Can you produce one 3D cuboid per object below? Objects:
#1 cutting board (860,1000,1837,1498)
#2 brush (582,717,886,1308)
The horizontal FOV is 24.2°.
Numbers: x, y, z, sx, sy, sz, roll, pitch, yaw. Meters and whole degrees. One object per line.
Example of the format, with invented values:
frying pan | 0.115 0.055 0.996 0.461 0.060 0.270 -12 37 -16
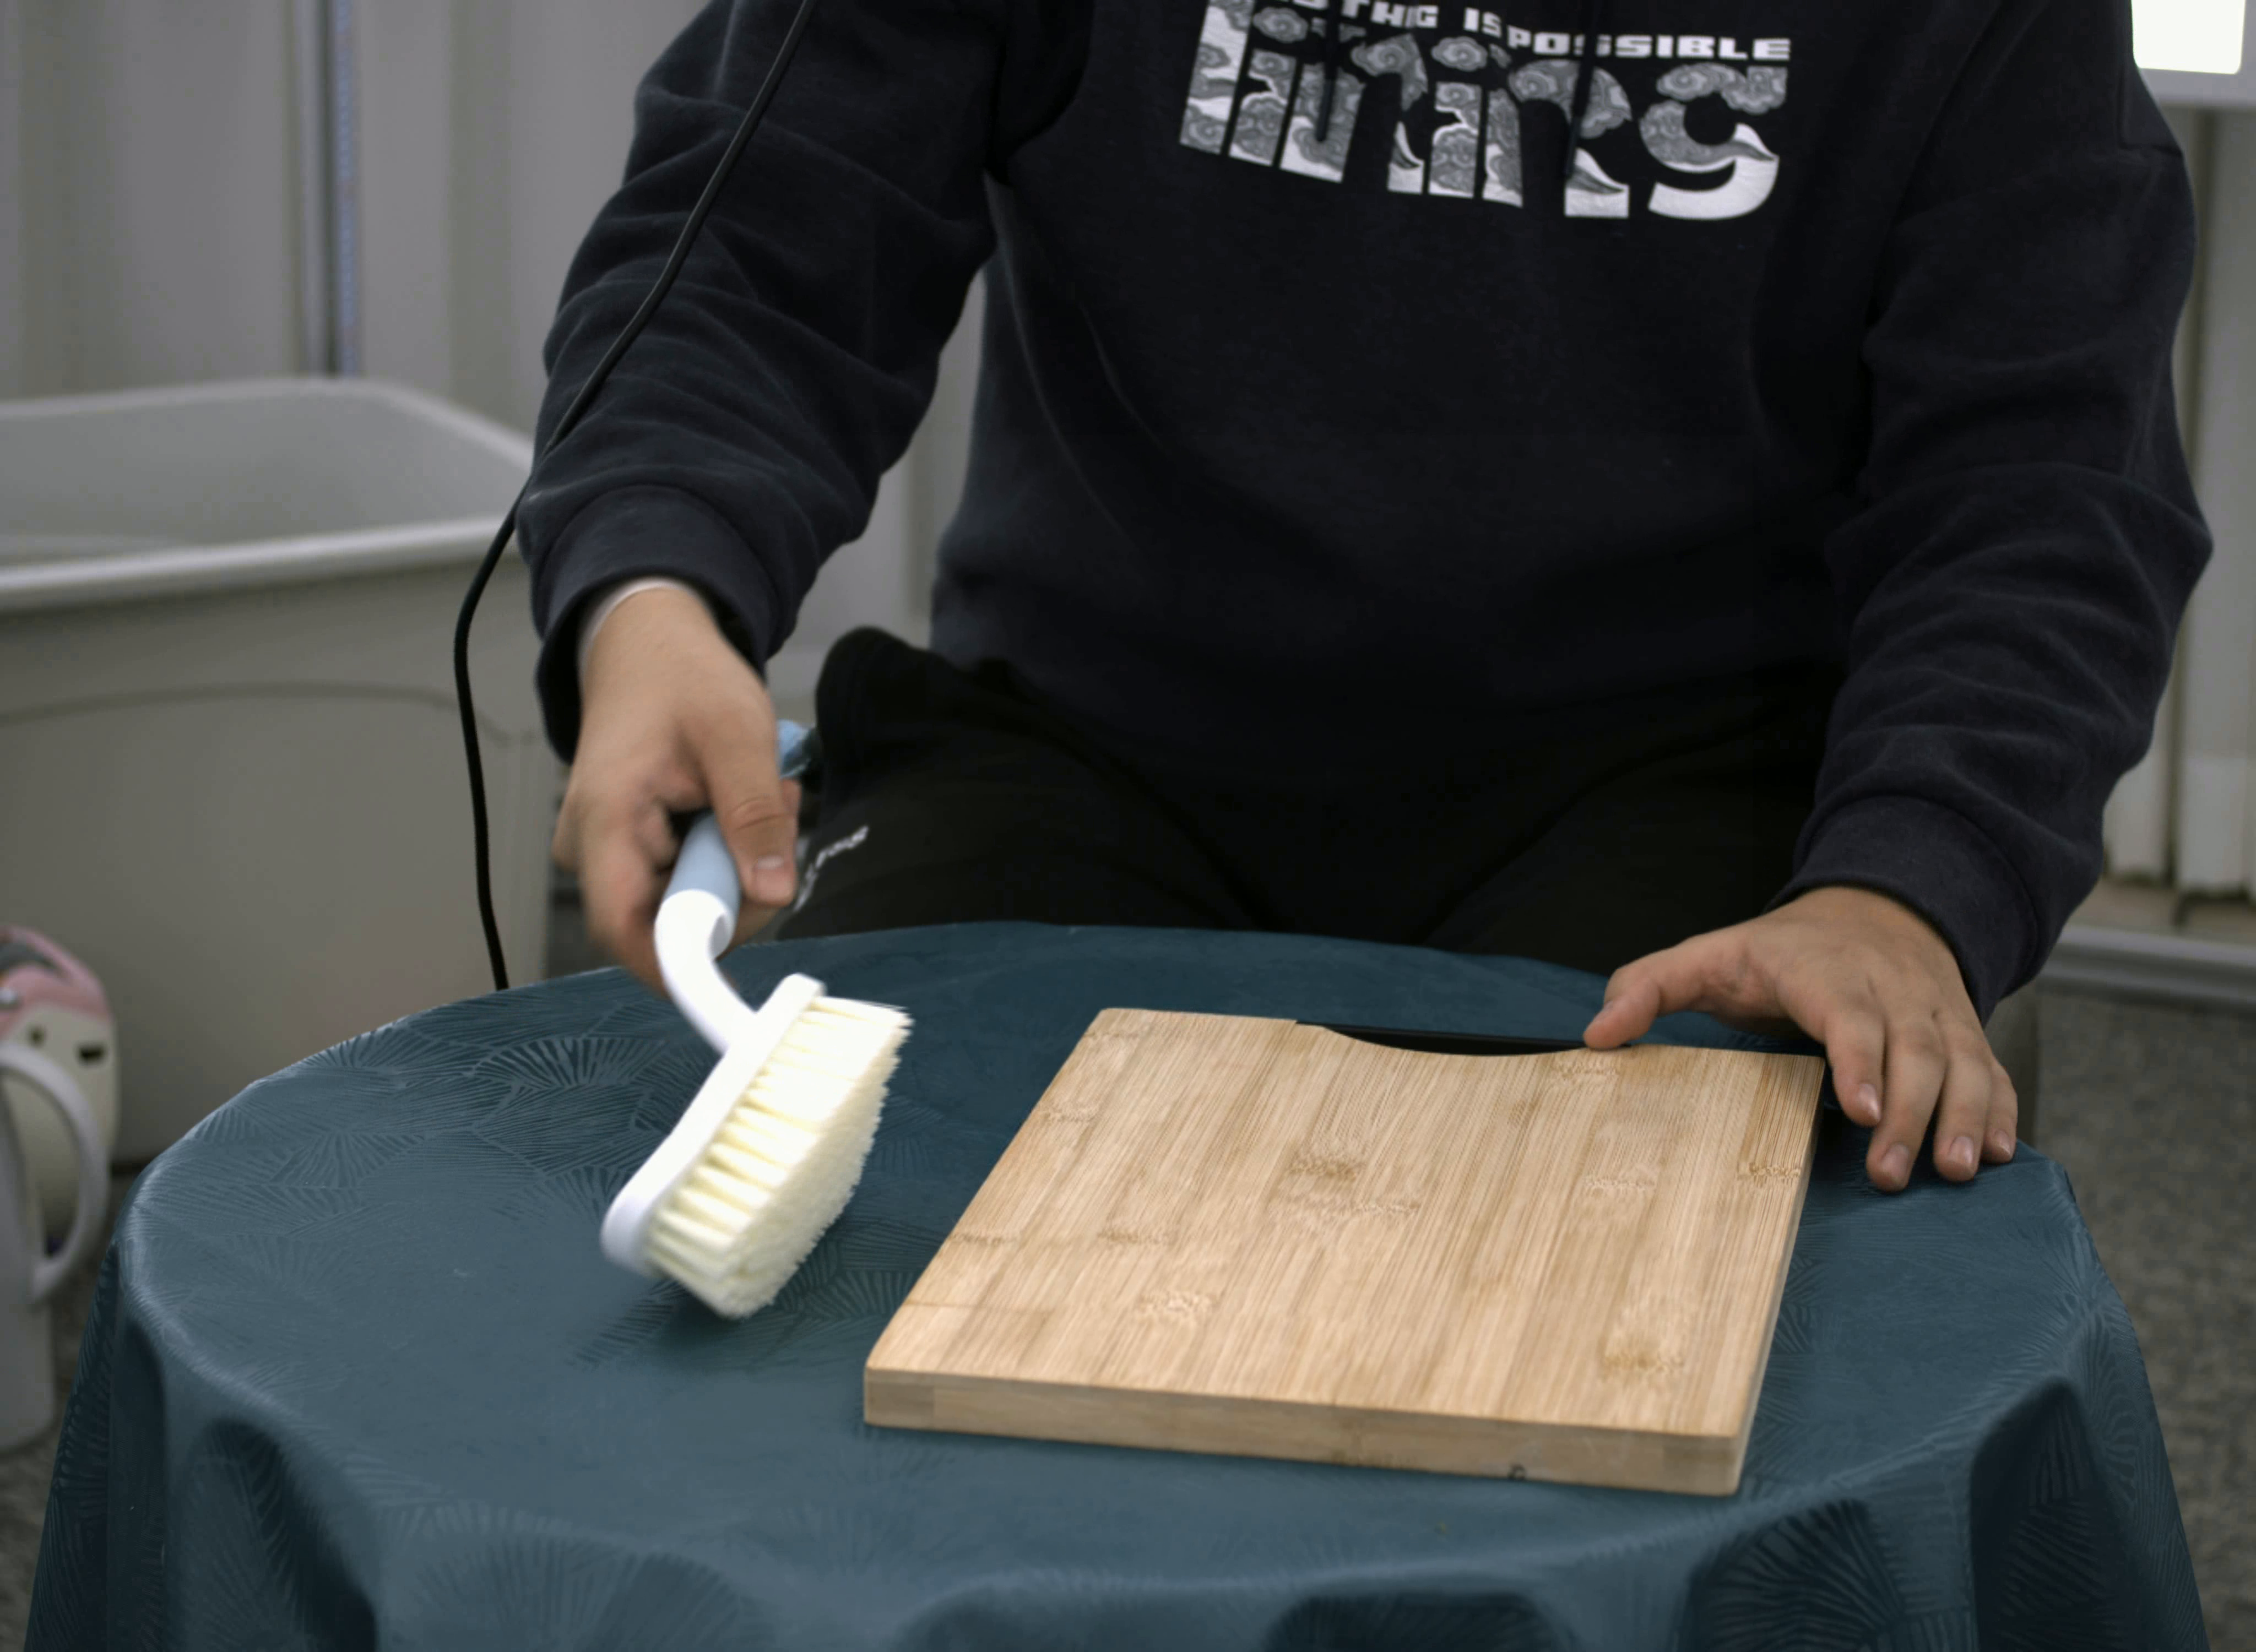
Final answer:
cutting board | 0.078 0.118 1.578 0.249 0.024 0.348 4 16 9
brush | -0.102 0.047 1.624 0.083 0.085 0.323 -38 18 22
